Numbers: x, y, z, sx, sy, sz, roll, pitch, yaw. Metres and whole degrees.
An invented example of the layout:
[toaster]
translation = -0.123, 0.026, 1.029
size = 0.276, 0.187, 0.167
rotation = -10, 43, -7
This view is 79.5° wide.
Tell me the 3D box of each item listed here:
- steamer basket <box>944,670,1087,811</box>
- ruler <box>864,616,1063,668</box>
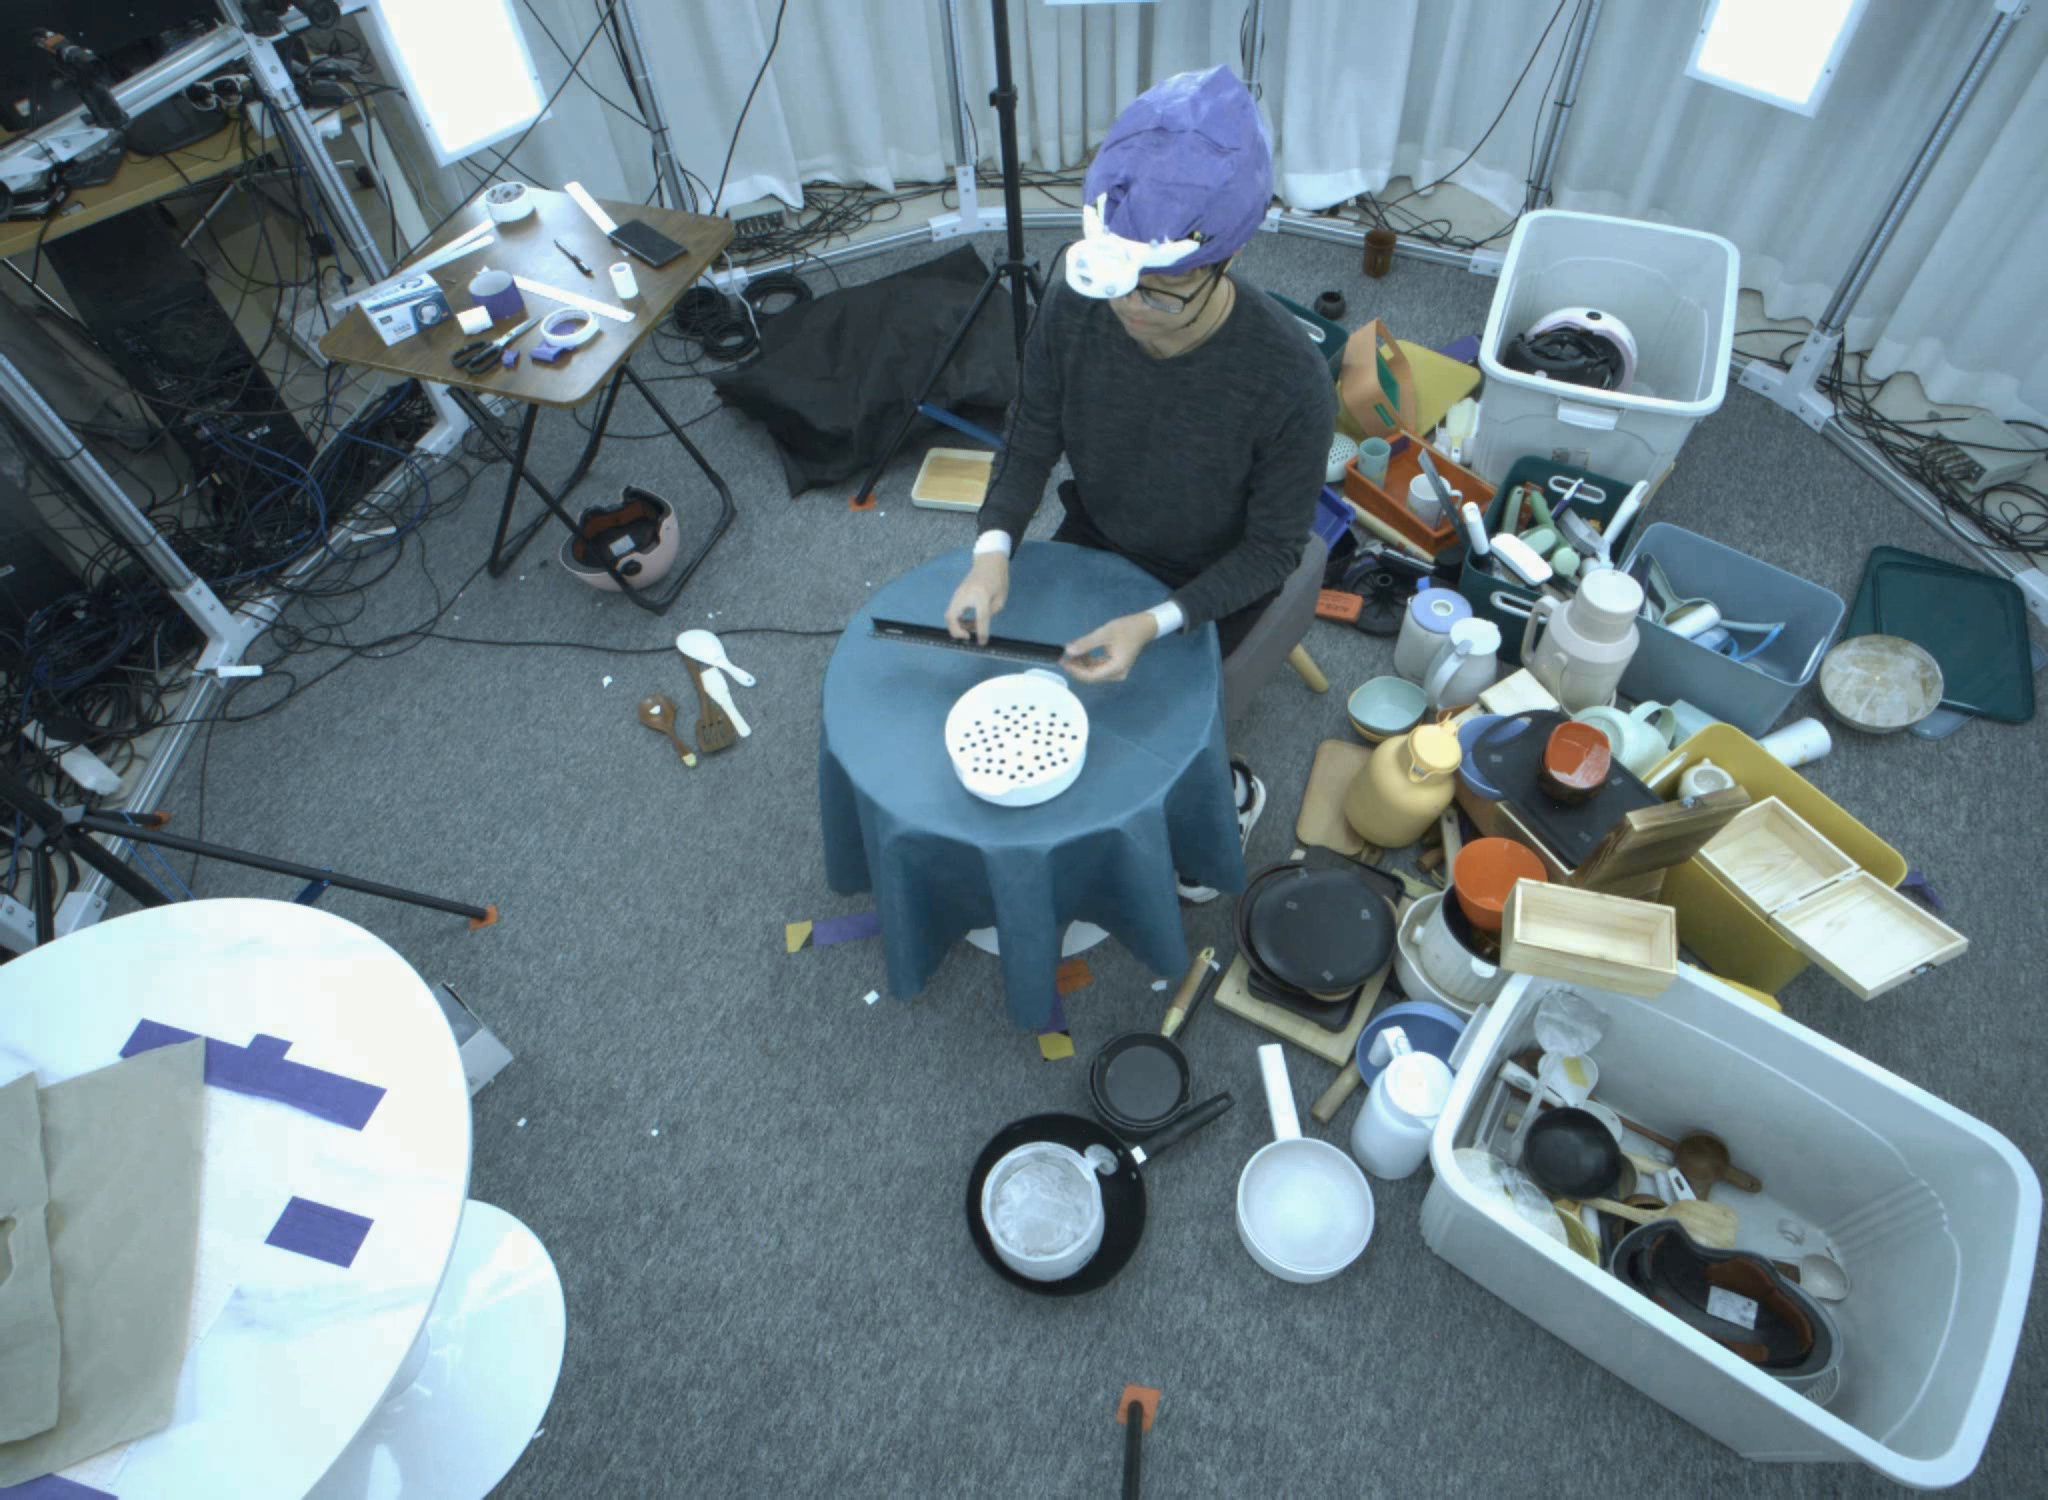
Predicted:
[steamer basket]
translation = -0.010, -0.008, 1.752
size = 0.199, 0.070, 0.230
rotation = 19, 60, 15
[ruler]
translation = -0.094, -0.159, 1.770
size = 0.308, 0.017, 0.039
rotation = 11, 52, 21
